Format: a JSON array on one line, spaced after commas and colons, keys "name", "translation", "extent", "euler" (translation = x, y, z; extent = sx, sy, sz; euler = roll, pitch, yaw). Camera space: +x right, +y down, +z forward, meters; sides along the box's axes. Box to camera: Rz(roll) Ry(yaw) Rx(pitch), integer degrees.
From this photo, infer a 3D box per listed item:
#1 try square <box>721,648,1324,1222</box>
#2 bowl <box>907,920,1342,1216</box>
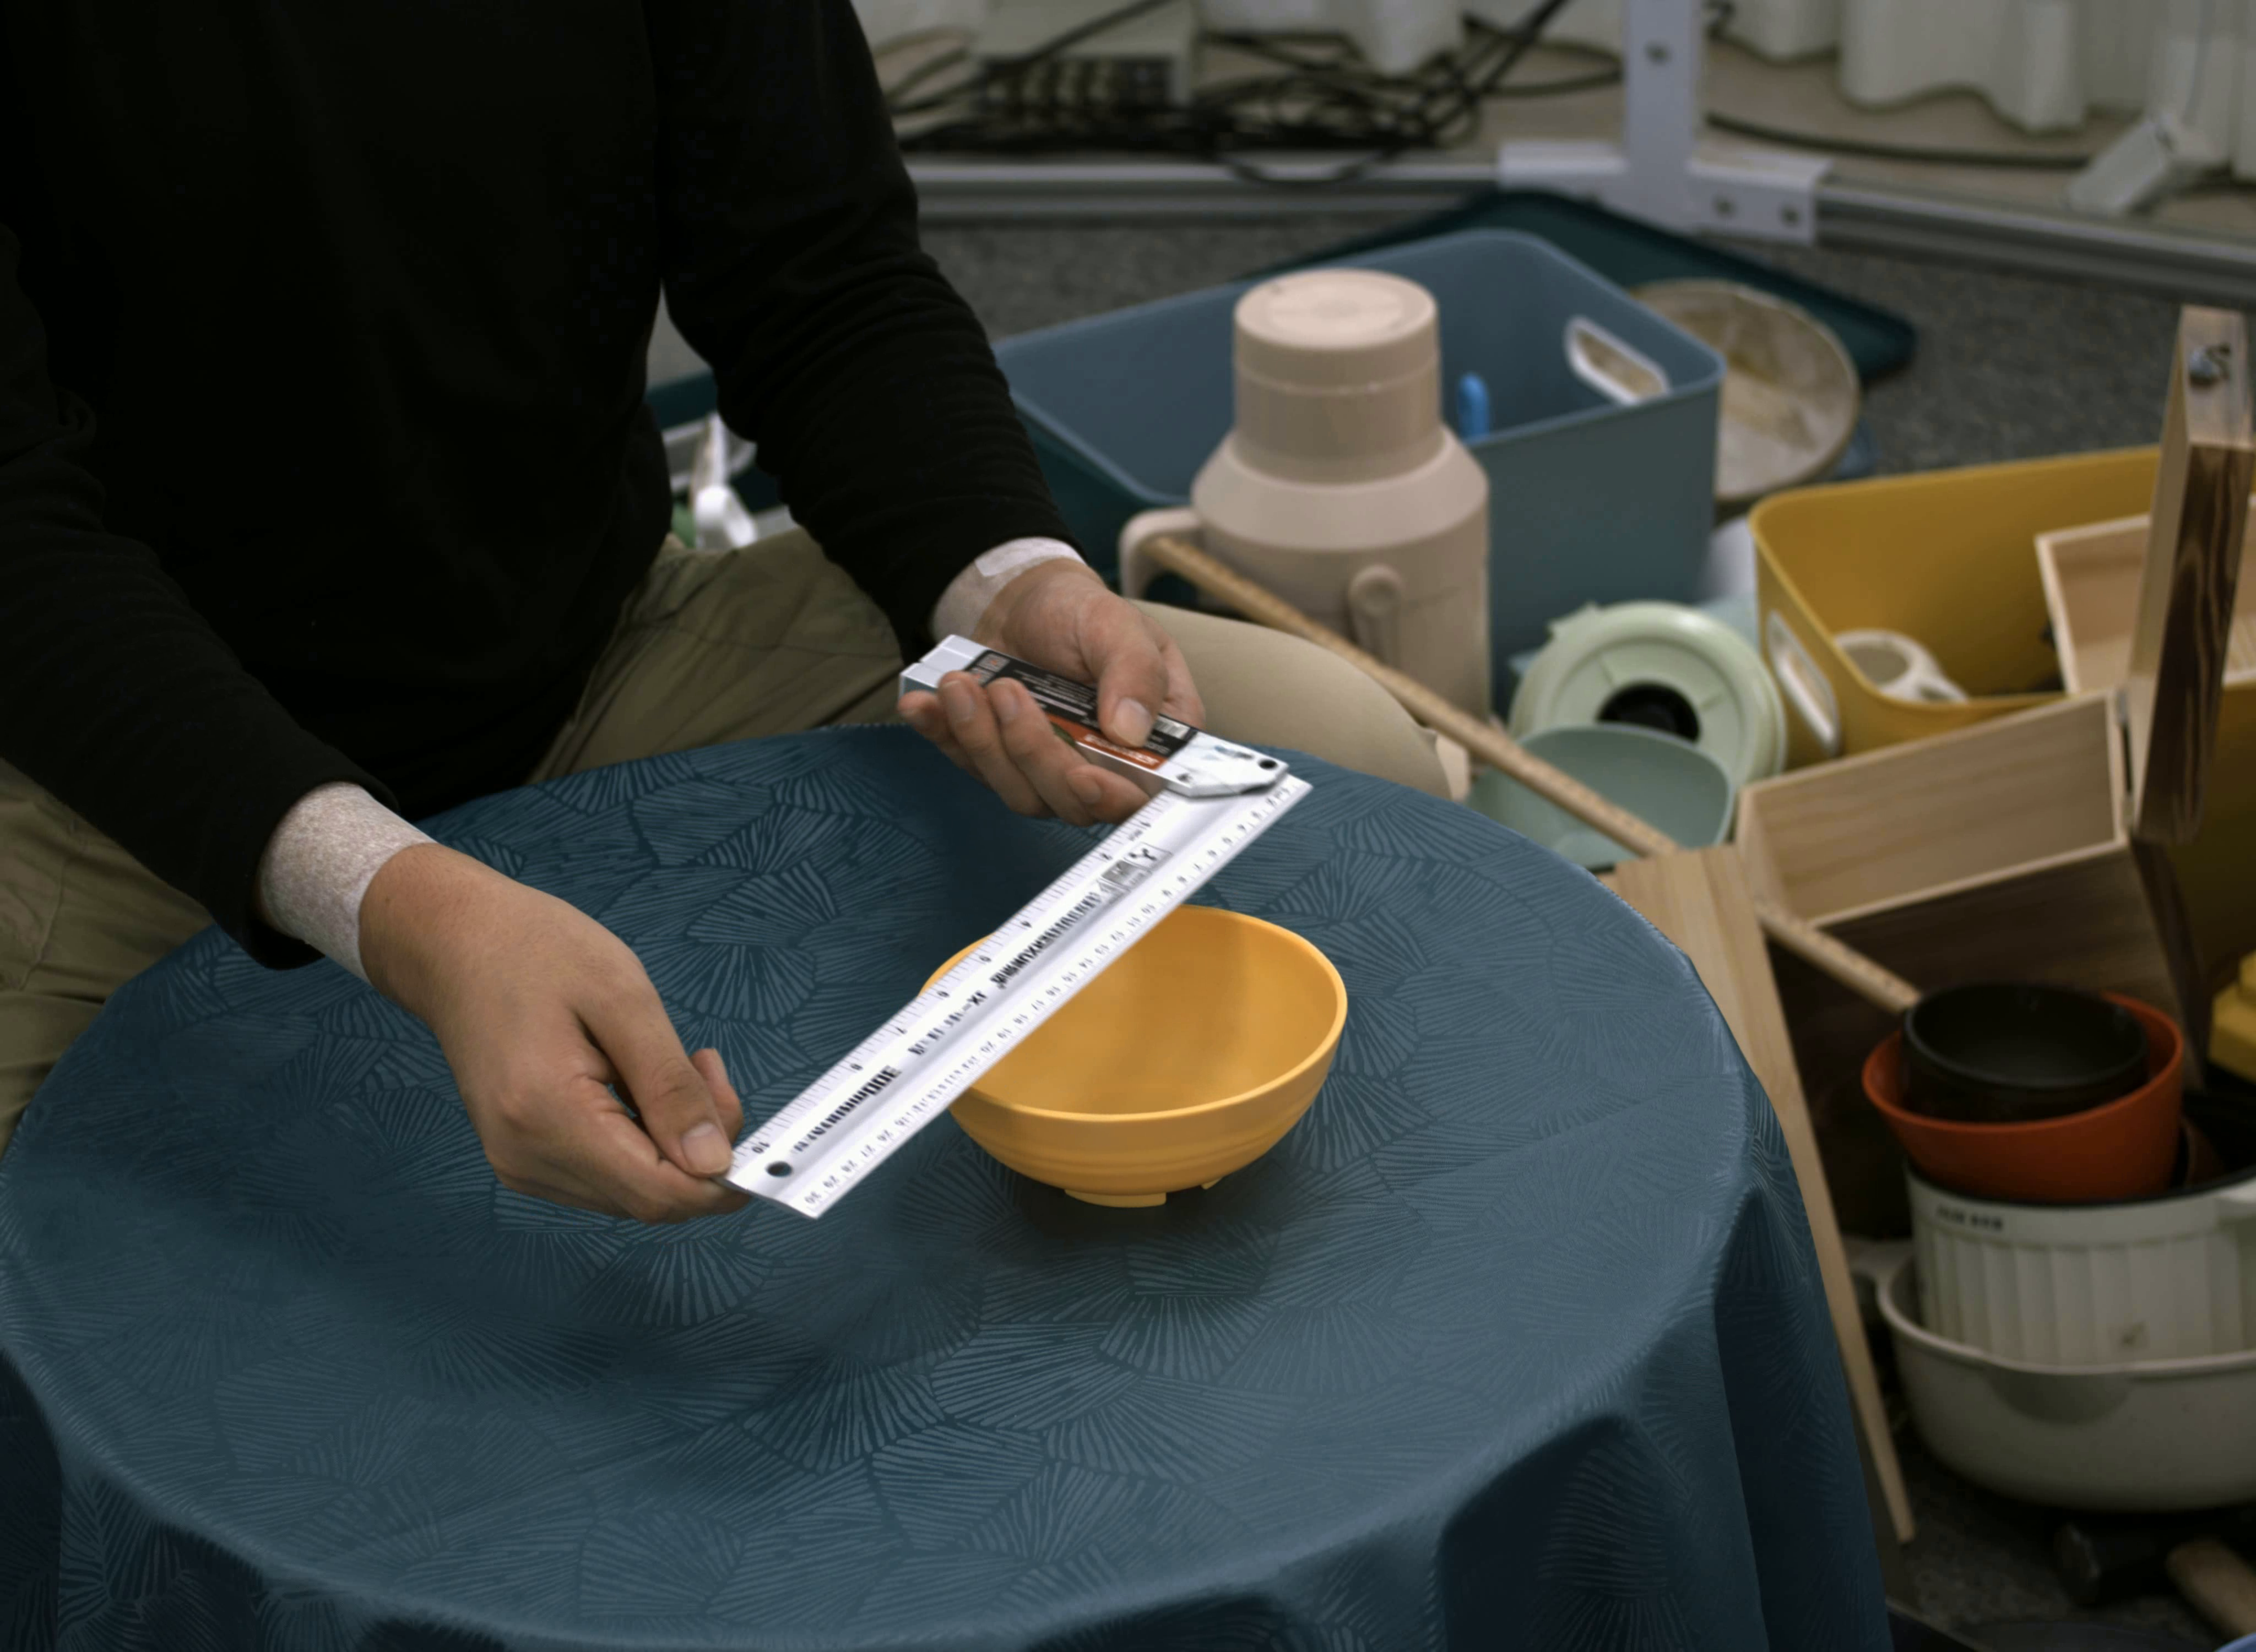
[{"name": "try square", "translation": [-0.075, 0.030, 1.866], "extent": [0.152, 0.015, 0.318], "euler": [20, 35, 25]}, {"name": "bowl", "translation": [0.000, 0.088, 1.868], "extent": [0.144, 0.059, 0.147], "euler": [-3, 24, 2]}]
